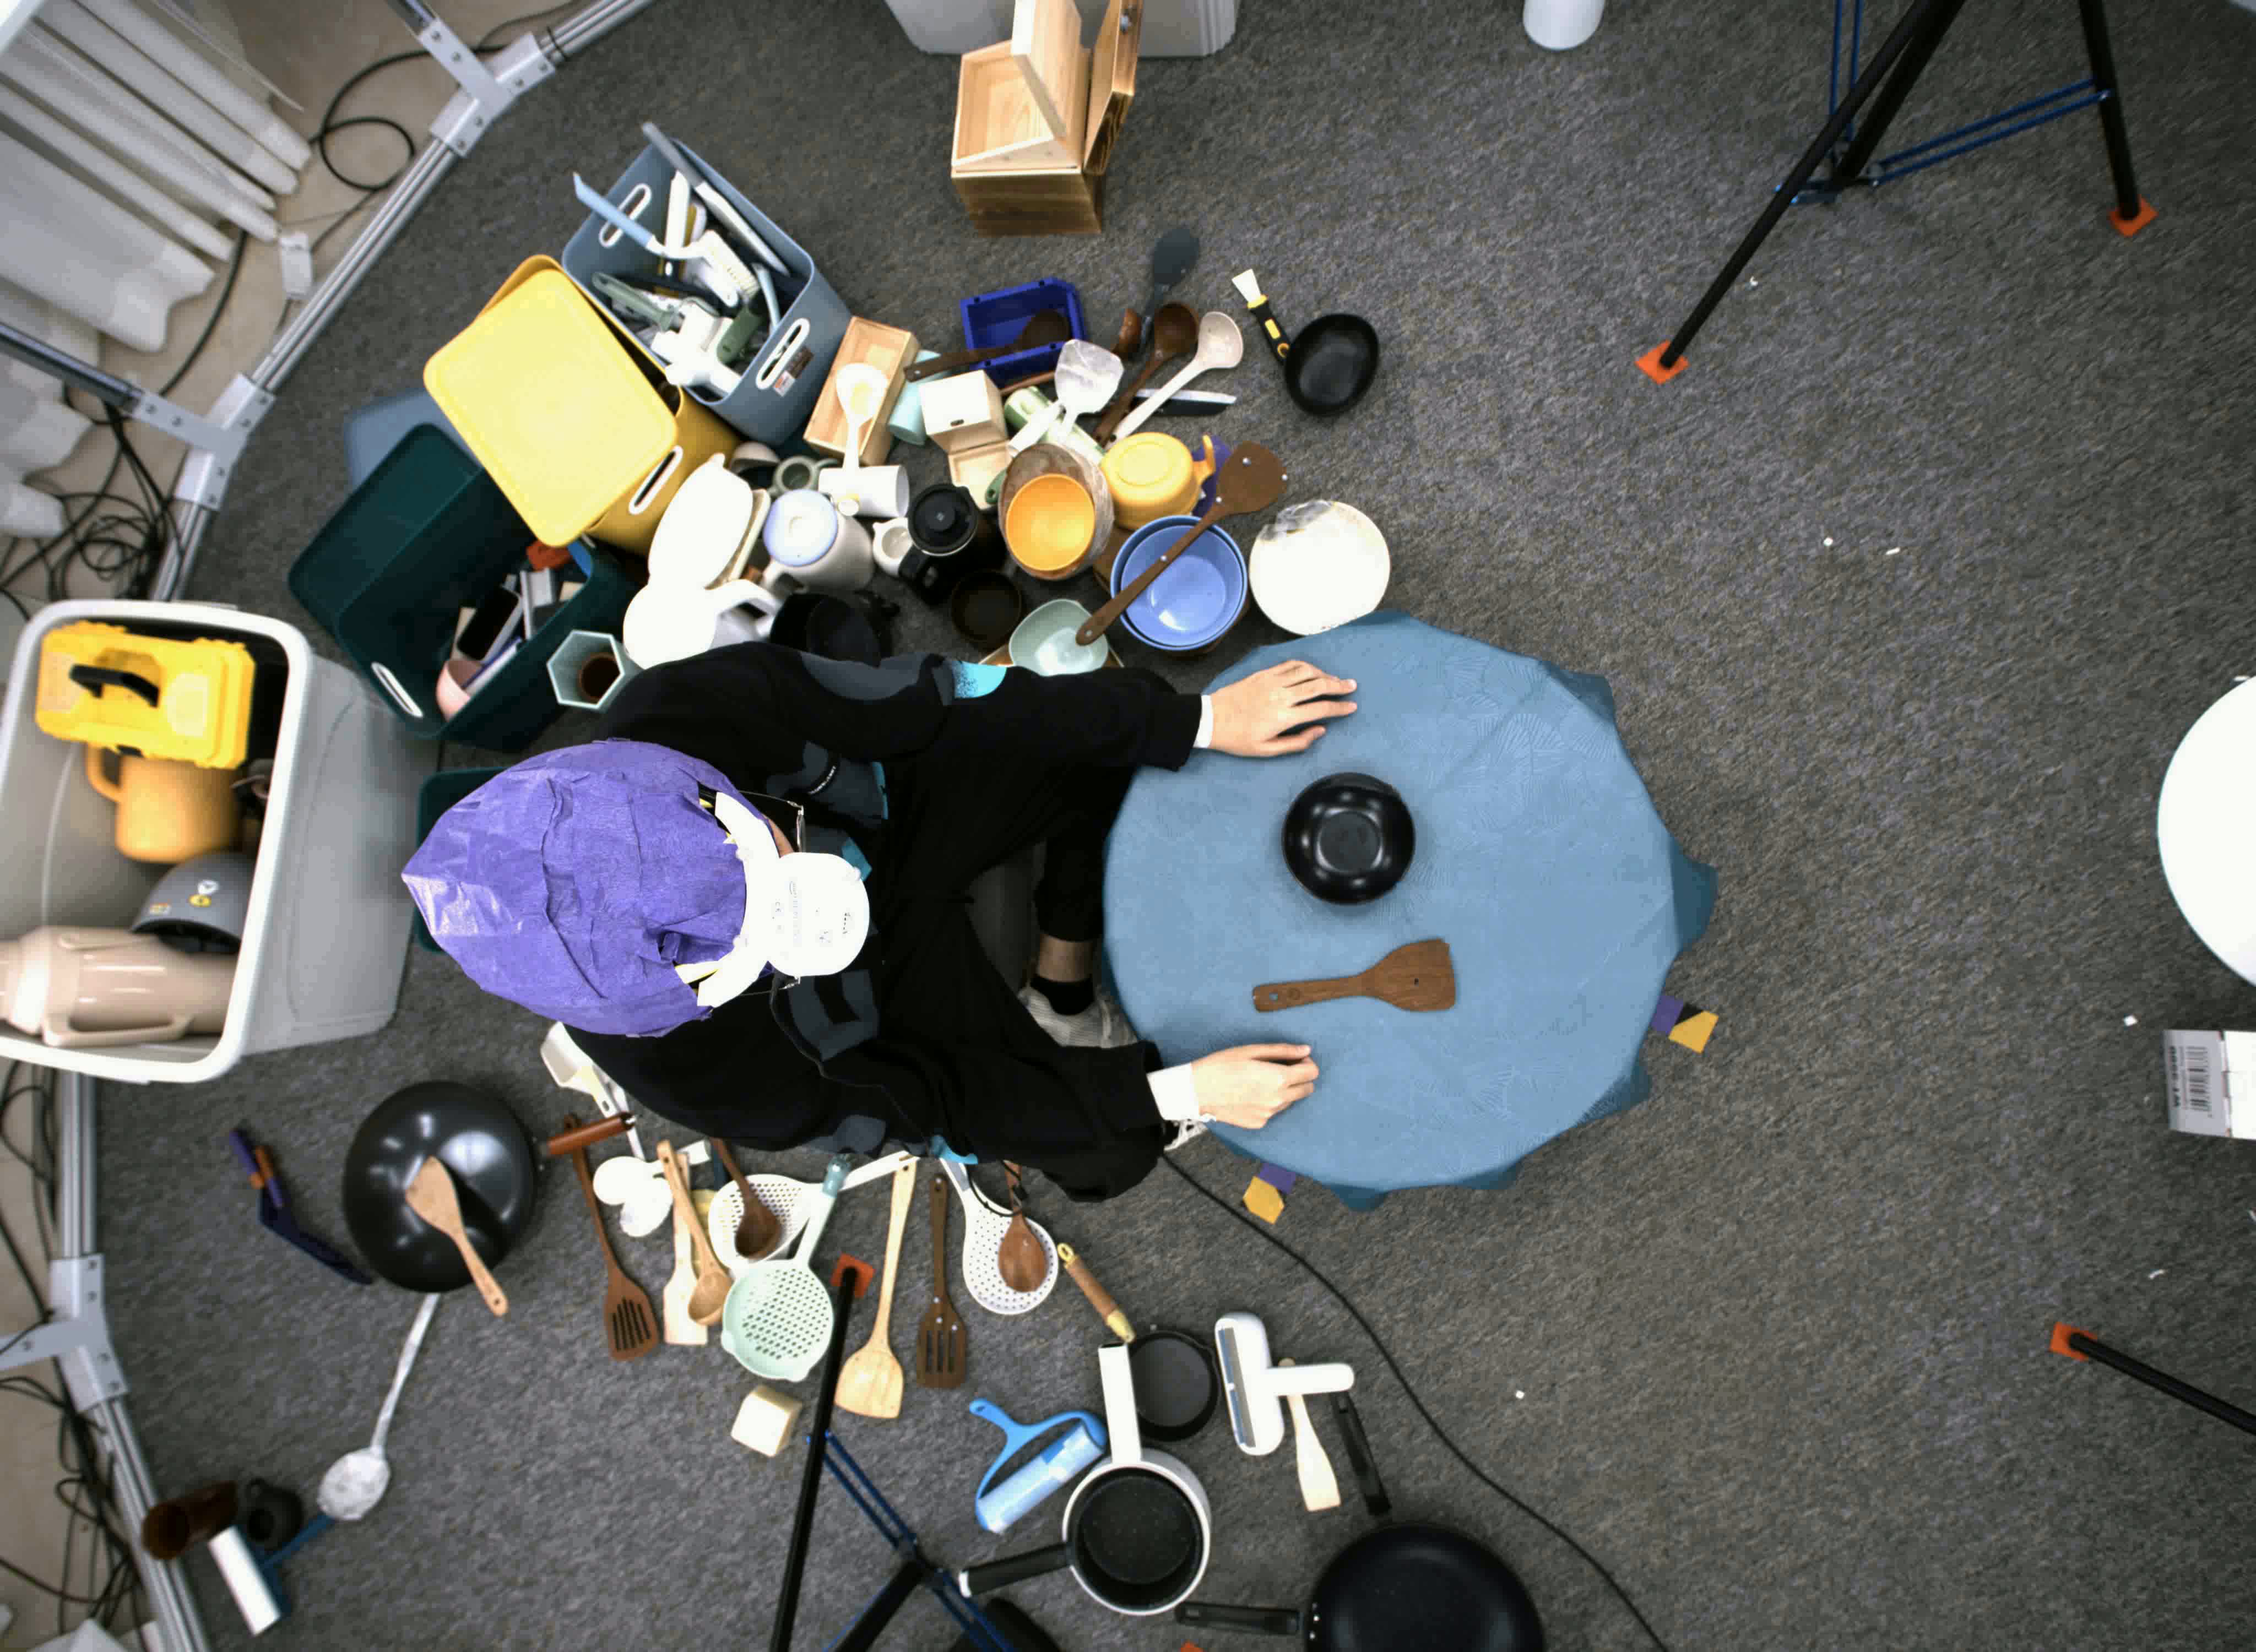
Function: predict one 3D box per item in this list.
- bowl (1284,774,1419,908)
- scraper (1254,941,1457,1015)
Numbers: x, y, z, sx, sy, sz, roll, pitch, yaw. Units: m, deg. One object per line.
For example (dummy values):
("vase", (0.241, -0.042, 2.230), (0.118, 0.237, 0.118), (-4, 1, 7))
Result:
("bowl", (0.234, 0.016, 1.450), (0.140, 0.050, 0.139), (0, 88, 8))
("scraper", (0.238, 0.170, 1.460), (0.212, 0.011, 0.075), (-9, 83, 10))
